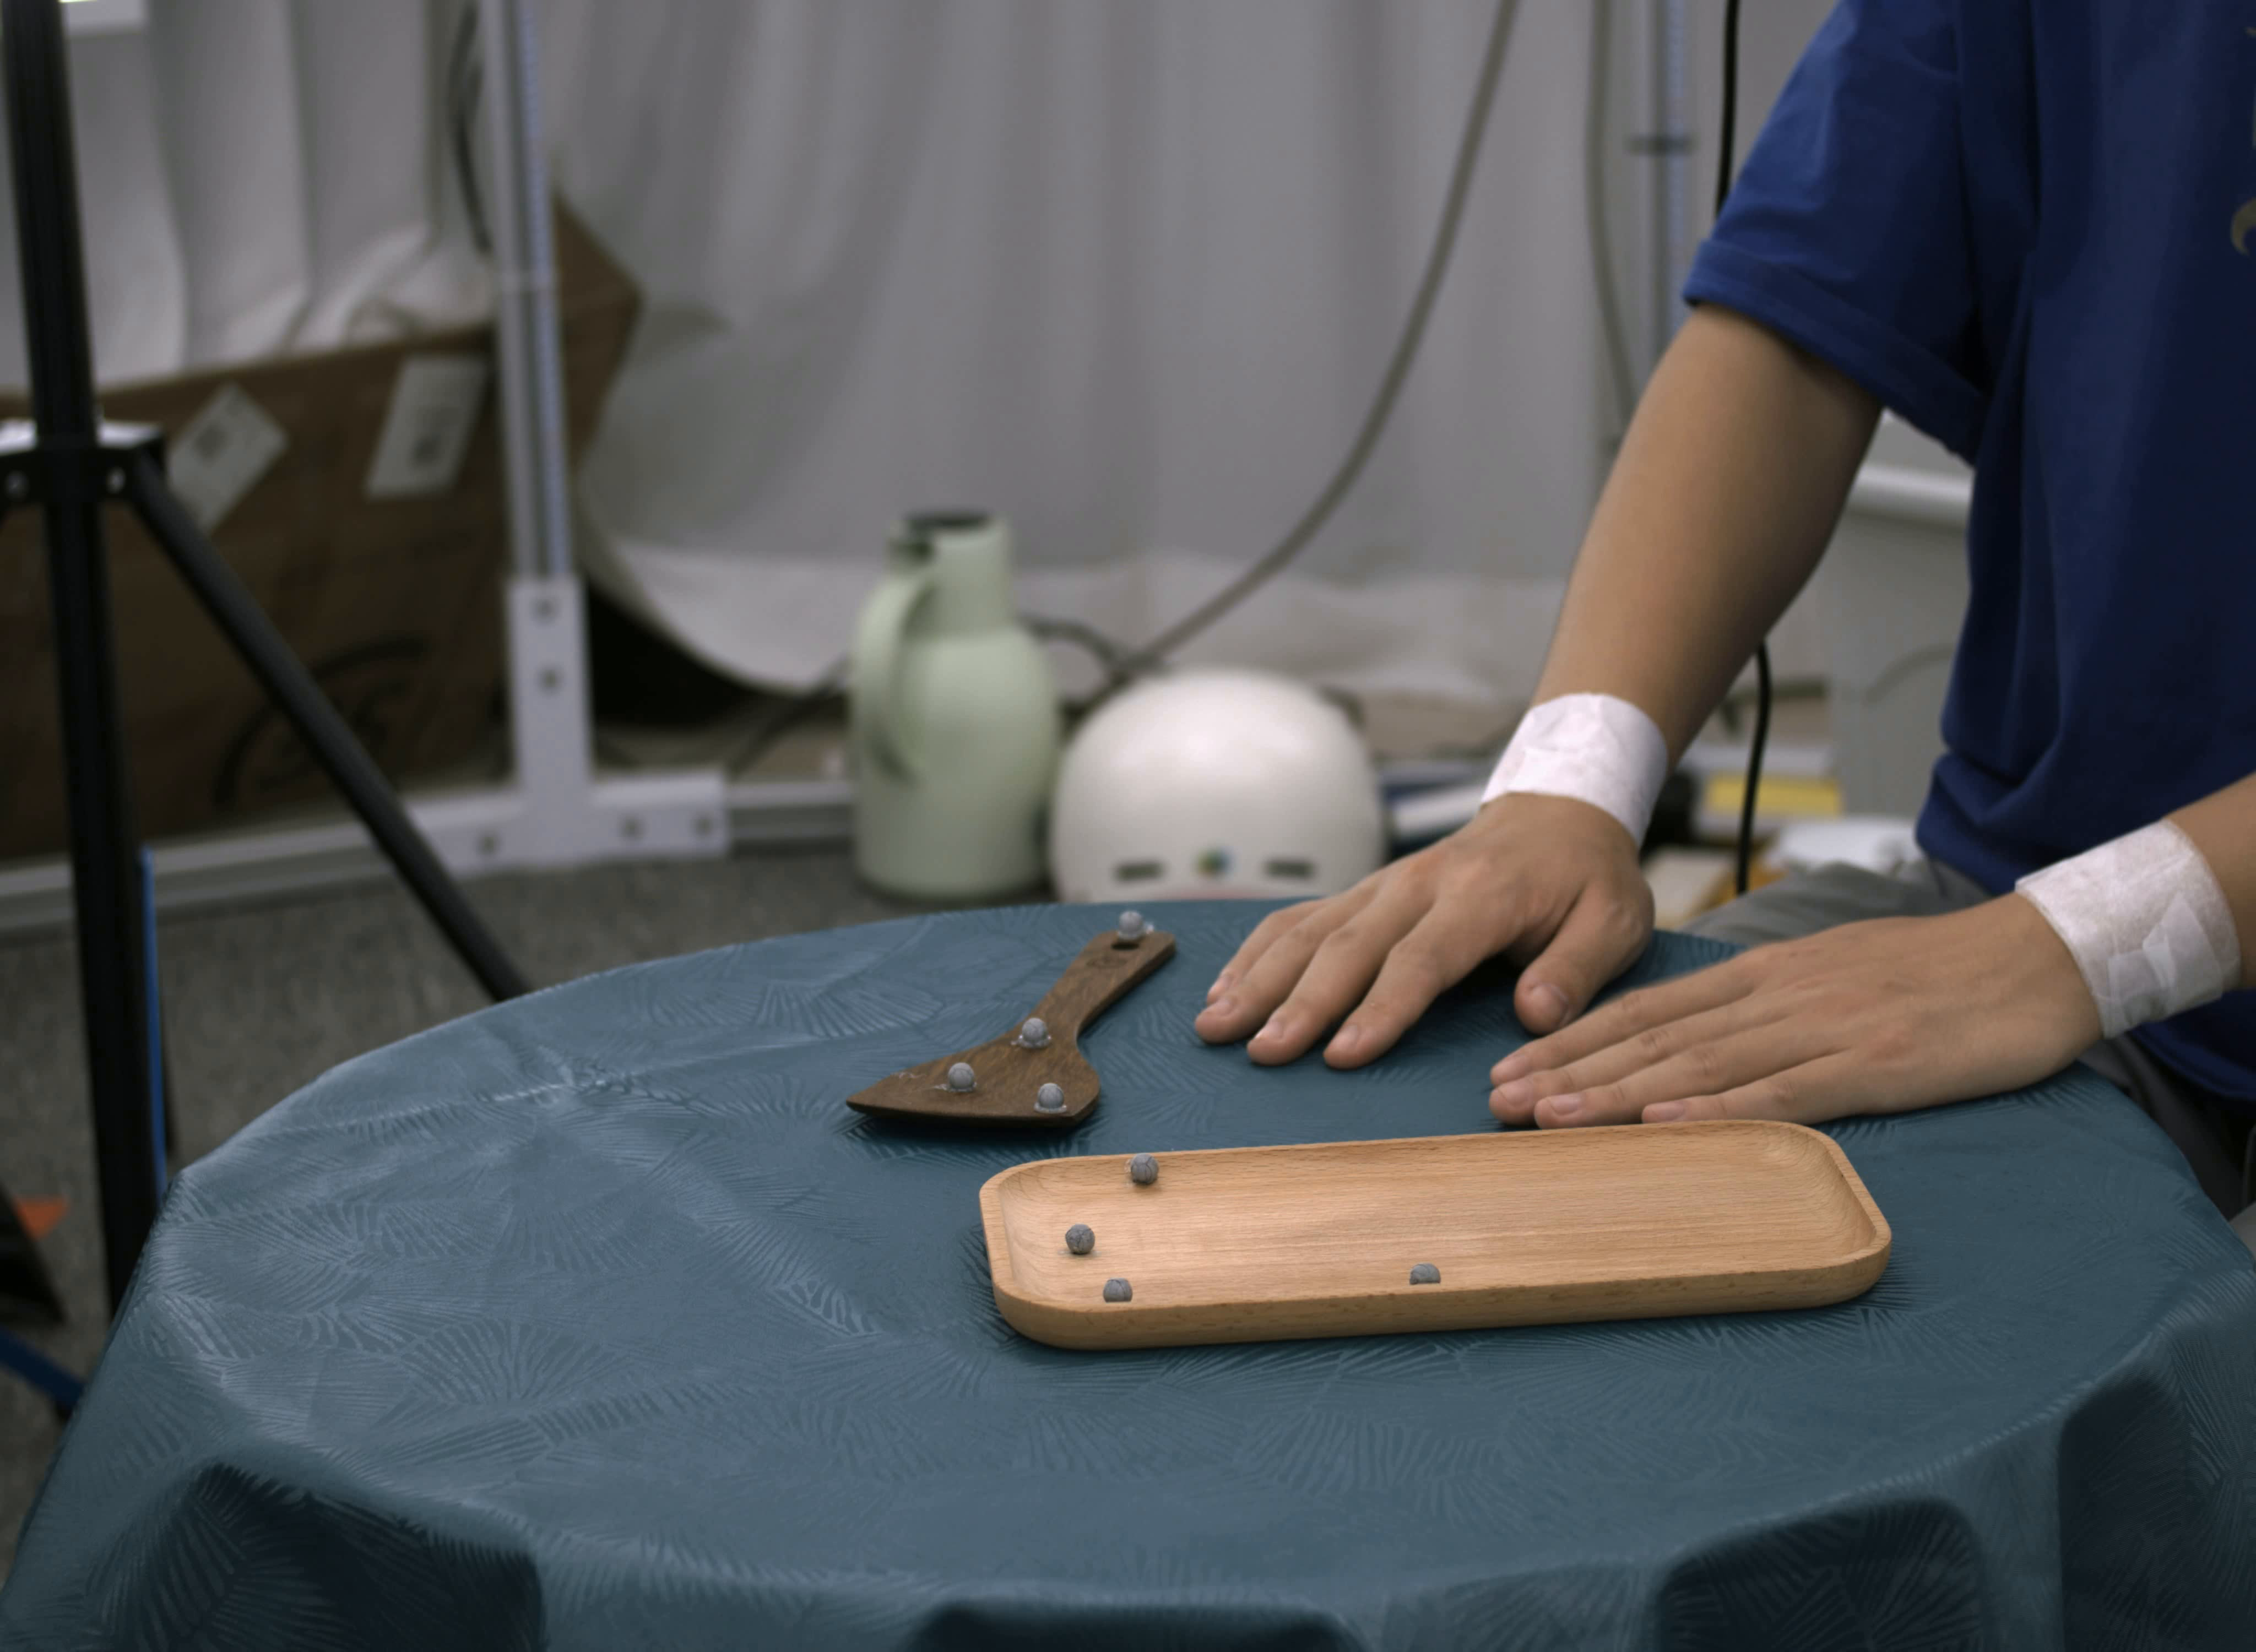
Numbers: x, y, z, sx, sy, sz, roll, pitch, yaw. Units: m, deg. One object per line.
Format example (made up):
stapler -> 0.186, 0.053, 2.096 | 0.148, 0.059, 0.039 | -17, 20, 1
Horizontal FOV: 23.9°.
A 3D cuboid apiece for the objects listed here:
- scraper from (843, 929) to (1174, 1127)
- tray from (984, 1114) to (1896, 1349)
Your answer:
scraper -> -0.025, 0.064, 1.702 | 0.076, 0.011, 0.209 | 3, 16, 17
tray -> 0.086, 0.114, 1.492 | 0.249, 0.023, 0.131 | -2, 18, -1
